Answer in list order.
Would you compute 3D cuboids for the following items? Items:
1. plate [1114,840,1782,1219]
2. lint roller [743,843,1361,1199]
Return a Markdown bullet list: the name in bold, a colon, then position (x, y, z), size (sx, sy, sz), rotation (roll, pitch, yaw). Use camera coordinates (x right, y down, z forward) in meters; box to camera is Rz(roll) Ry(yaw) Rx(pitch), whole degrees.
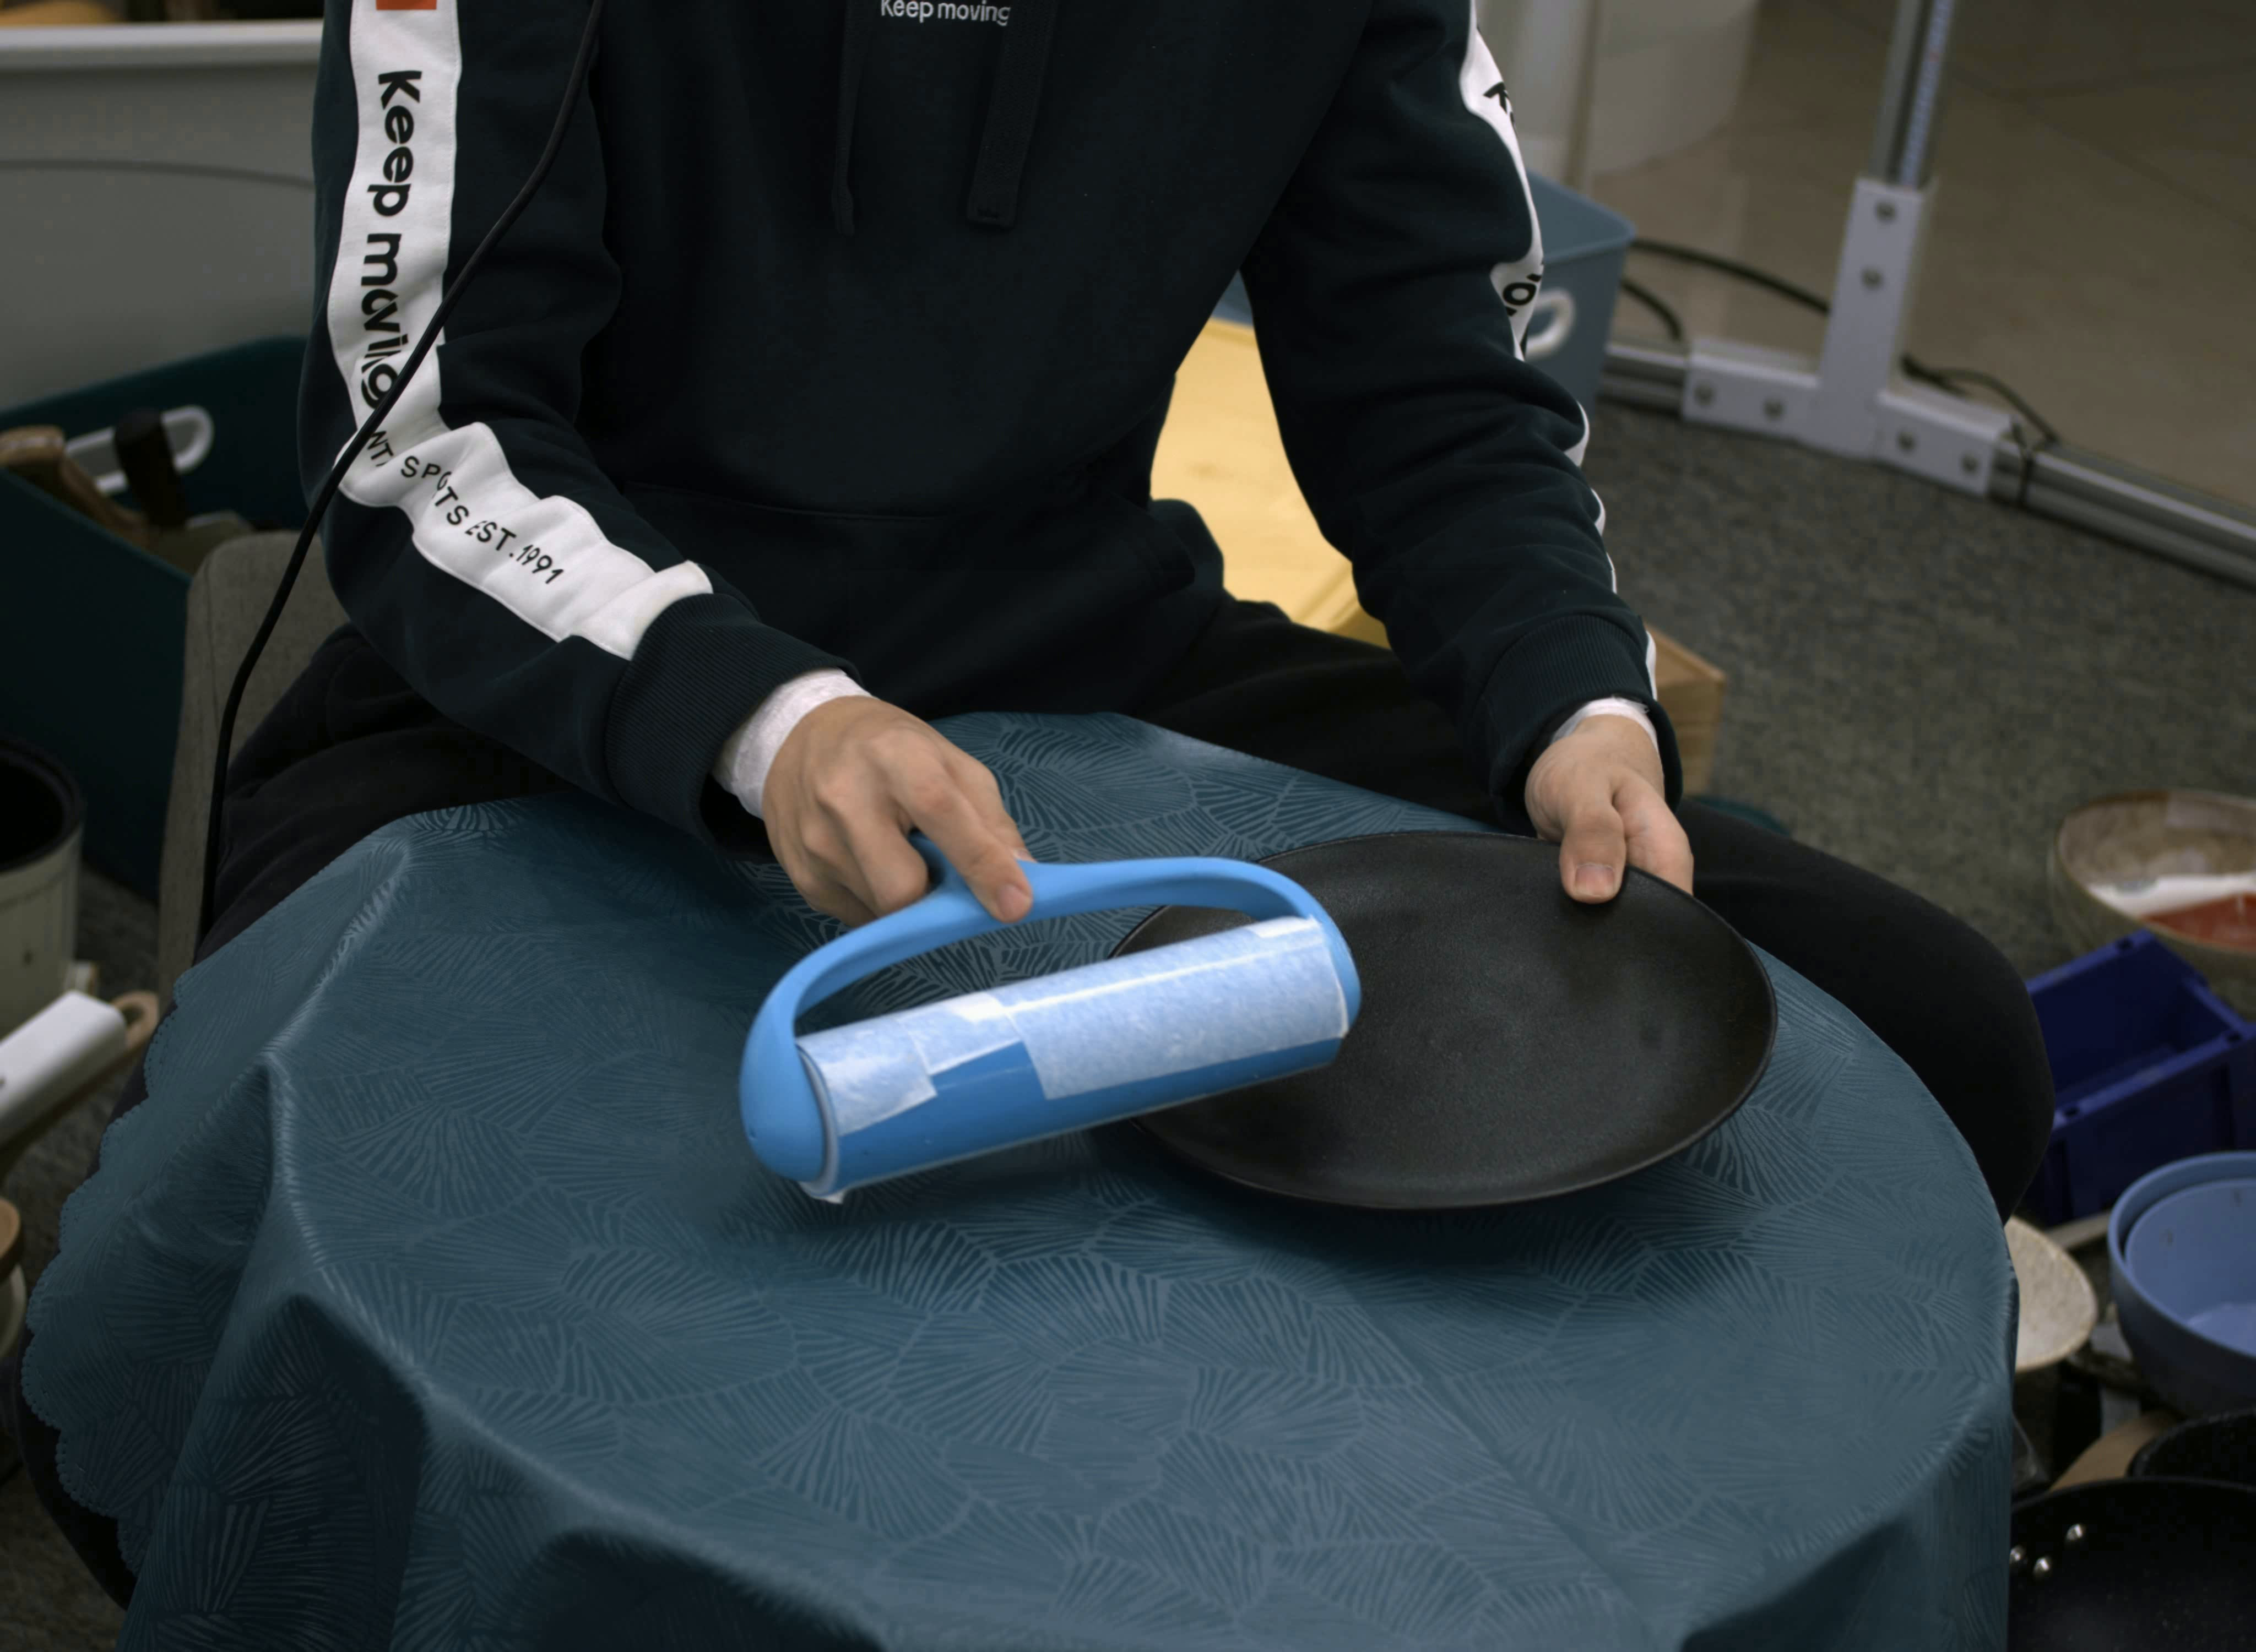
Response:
- **plate**: position (0.107, 0.075, 1.863), size (0.244, 0.023, 0.246), rotation (-3, 30, 1)
- **lint roller**: position (-0.053, 0.044, 1.824), size (0.228, 0.067, 0.182), rotation (-16, 40, -27)
